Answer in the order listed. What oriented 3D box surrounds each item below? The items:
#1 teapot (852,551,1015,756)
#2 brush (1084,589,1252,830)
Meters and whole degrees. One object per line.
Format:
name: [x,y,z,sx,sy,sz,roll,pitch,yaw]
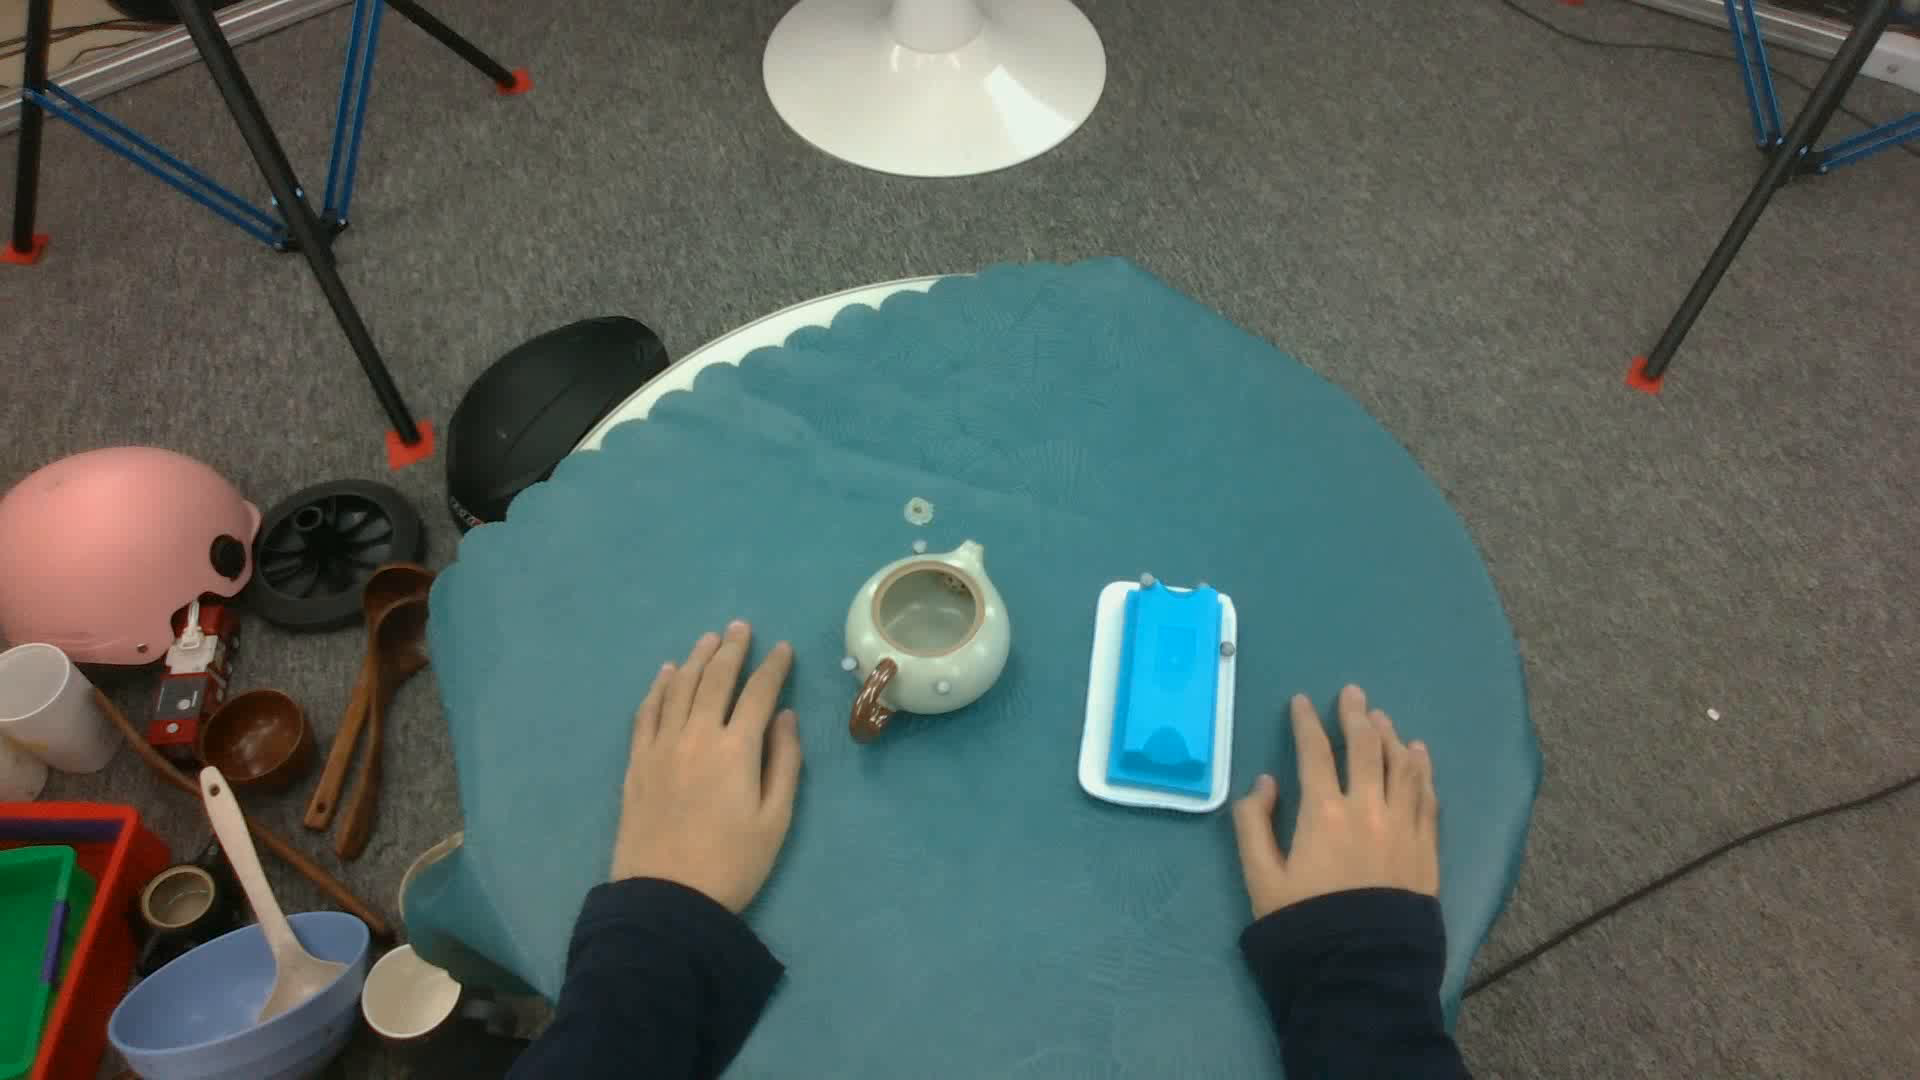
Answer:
teapot: [-0.019,0.066,0.767,0.092,0.059,0.128,25,57,14]
brush: [0.116,0.085,0.752,0.084,0.055,0.144,7,52,9]
